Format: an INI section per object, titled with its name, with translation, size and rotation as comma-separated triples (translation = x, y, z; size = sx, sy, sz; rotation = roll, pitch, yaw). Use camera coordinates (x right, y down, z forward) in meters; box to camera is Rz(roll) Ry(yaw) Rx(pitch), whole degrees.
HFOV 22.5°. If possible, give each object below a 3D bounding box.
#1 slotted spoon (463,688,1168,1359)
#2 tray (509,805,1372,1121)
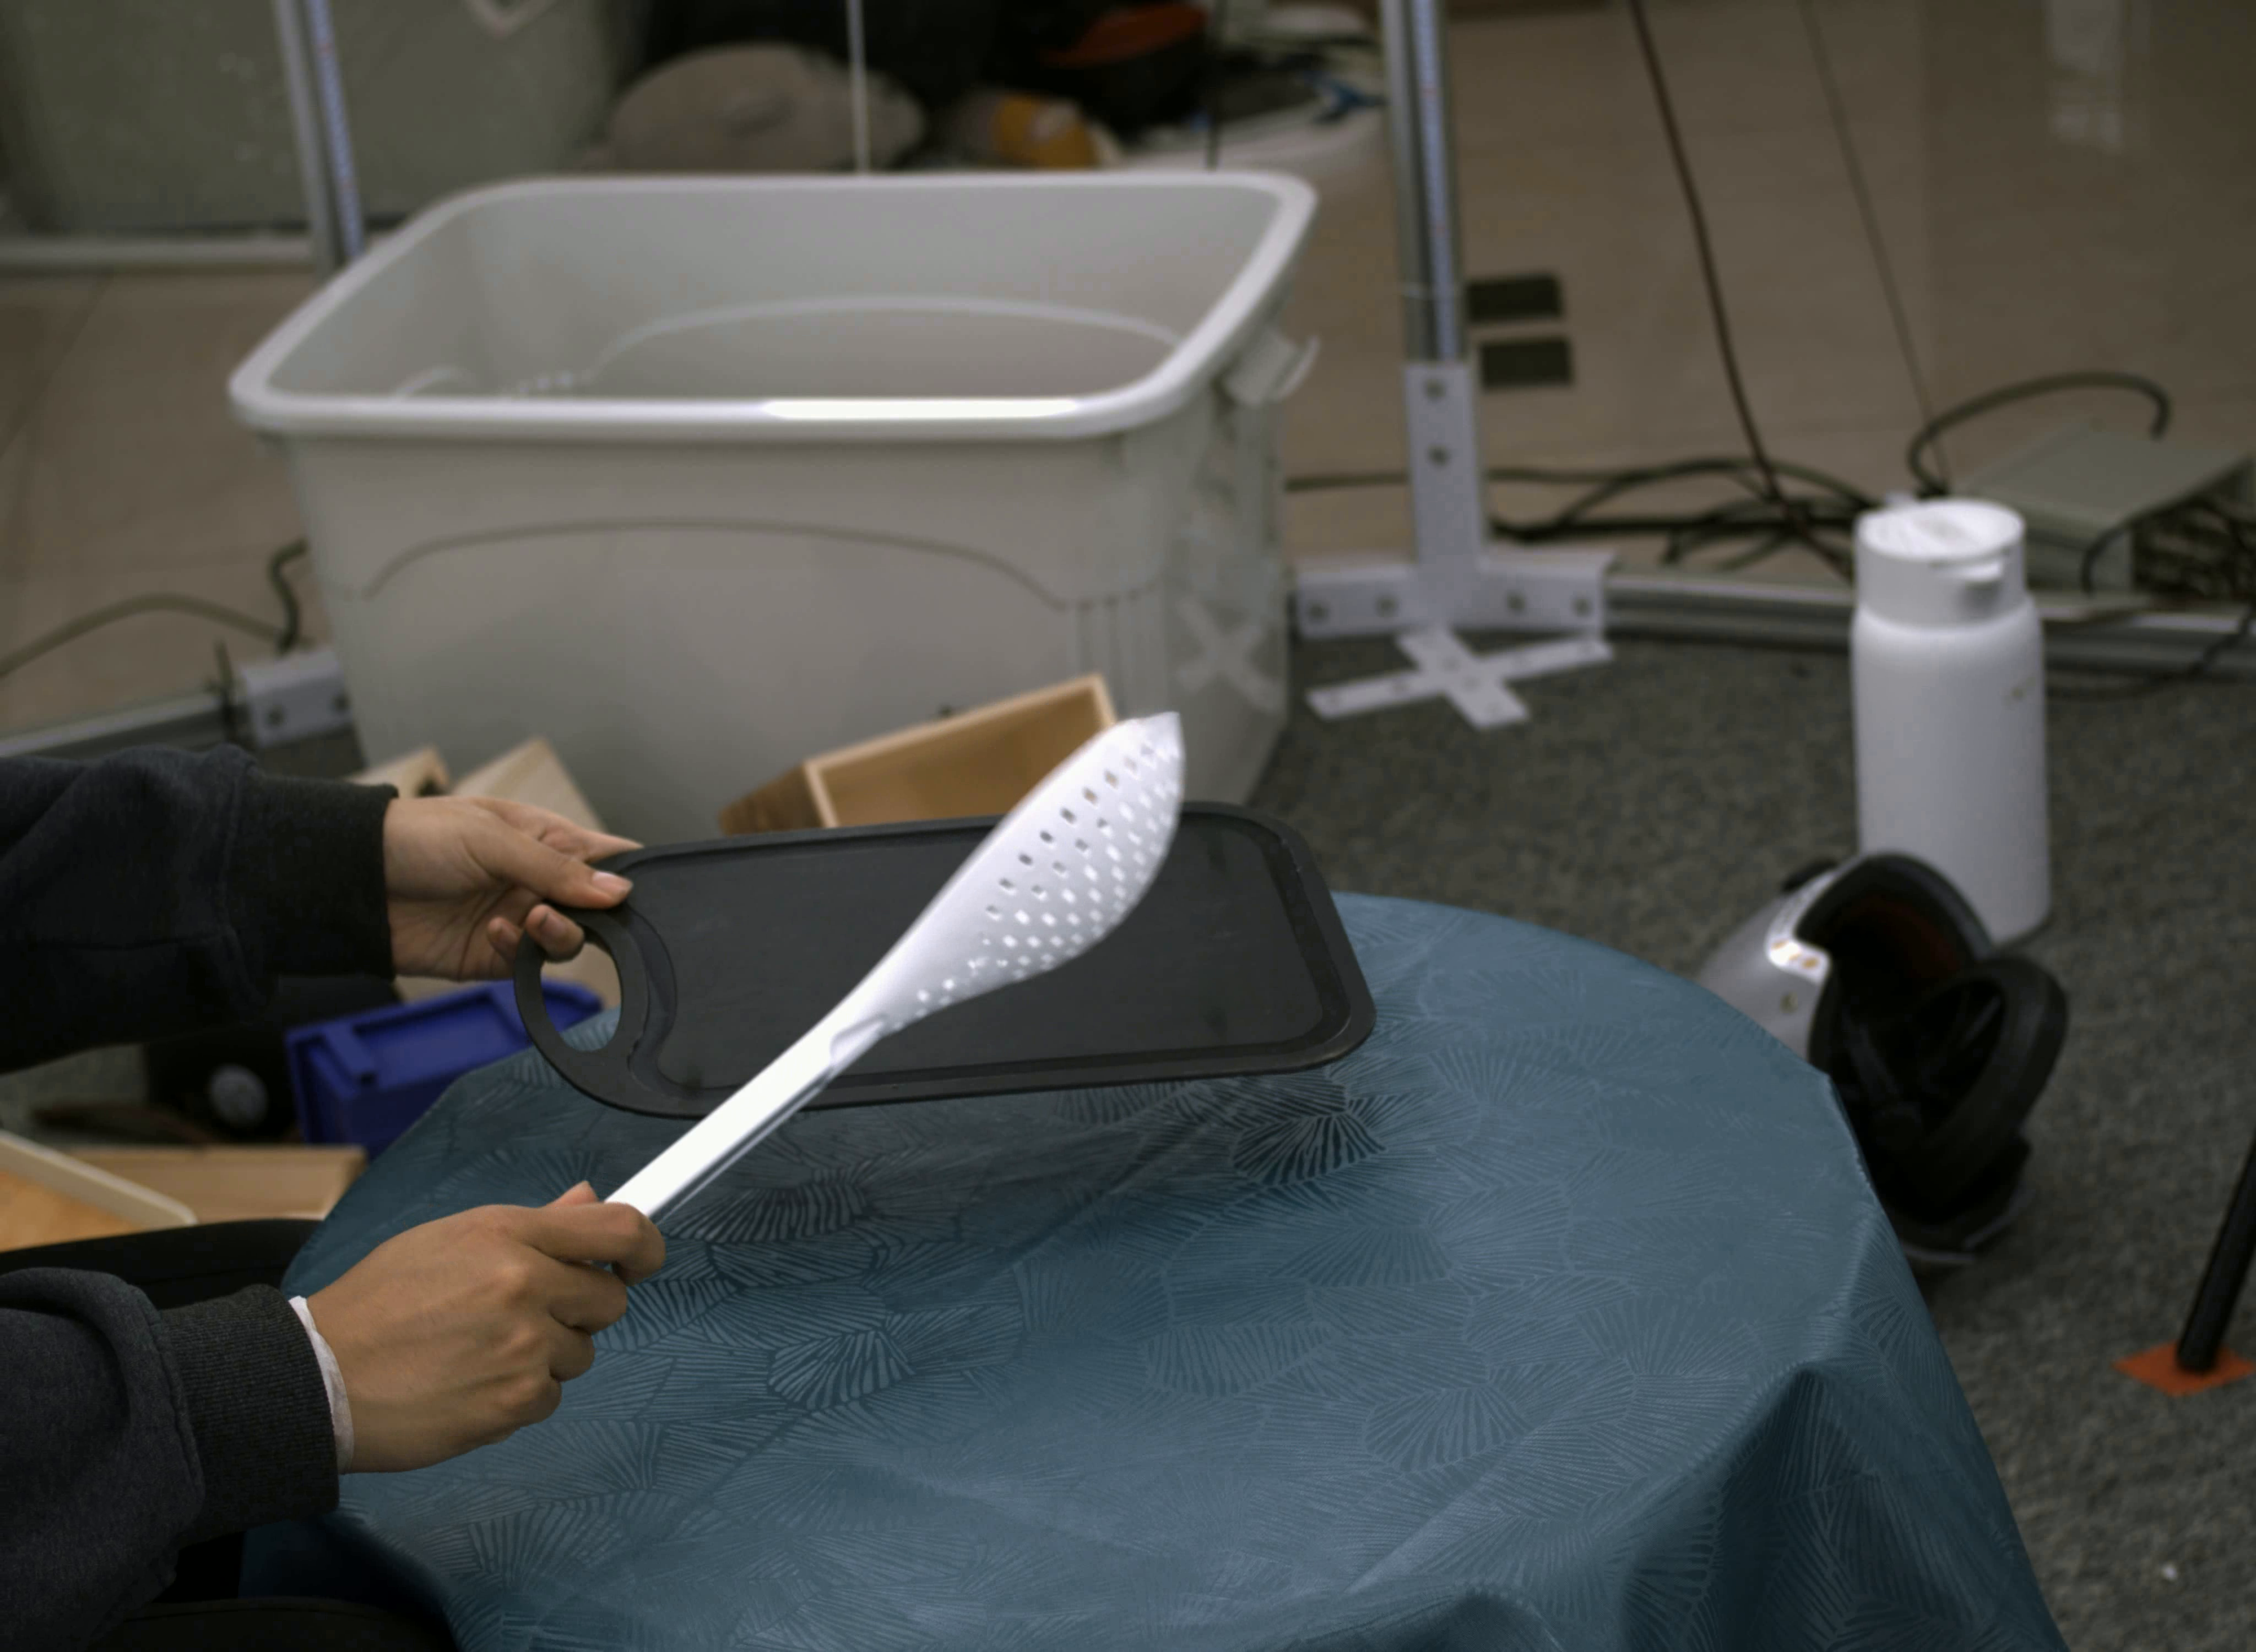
[slotted spoon]
translation = -0.104, 0.071, 2.004
size = 0.347, 0.138, 0.045
rotation = -36, 72, -23
[tray]
translation = -0.076, 0.050, 2.190
size = 0.325, 0.010, 0.207
rotation = -4, 30, -8
